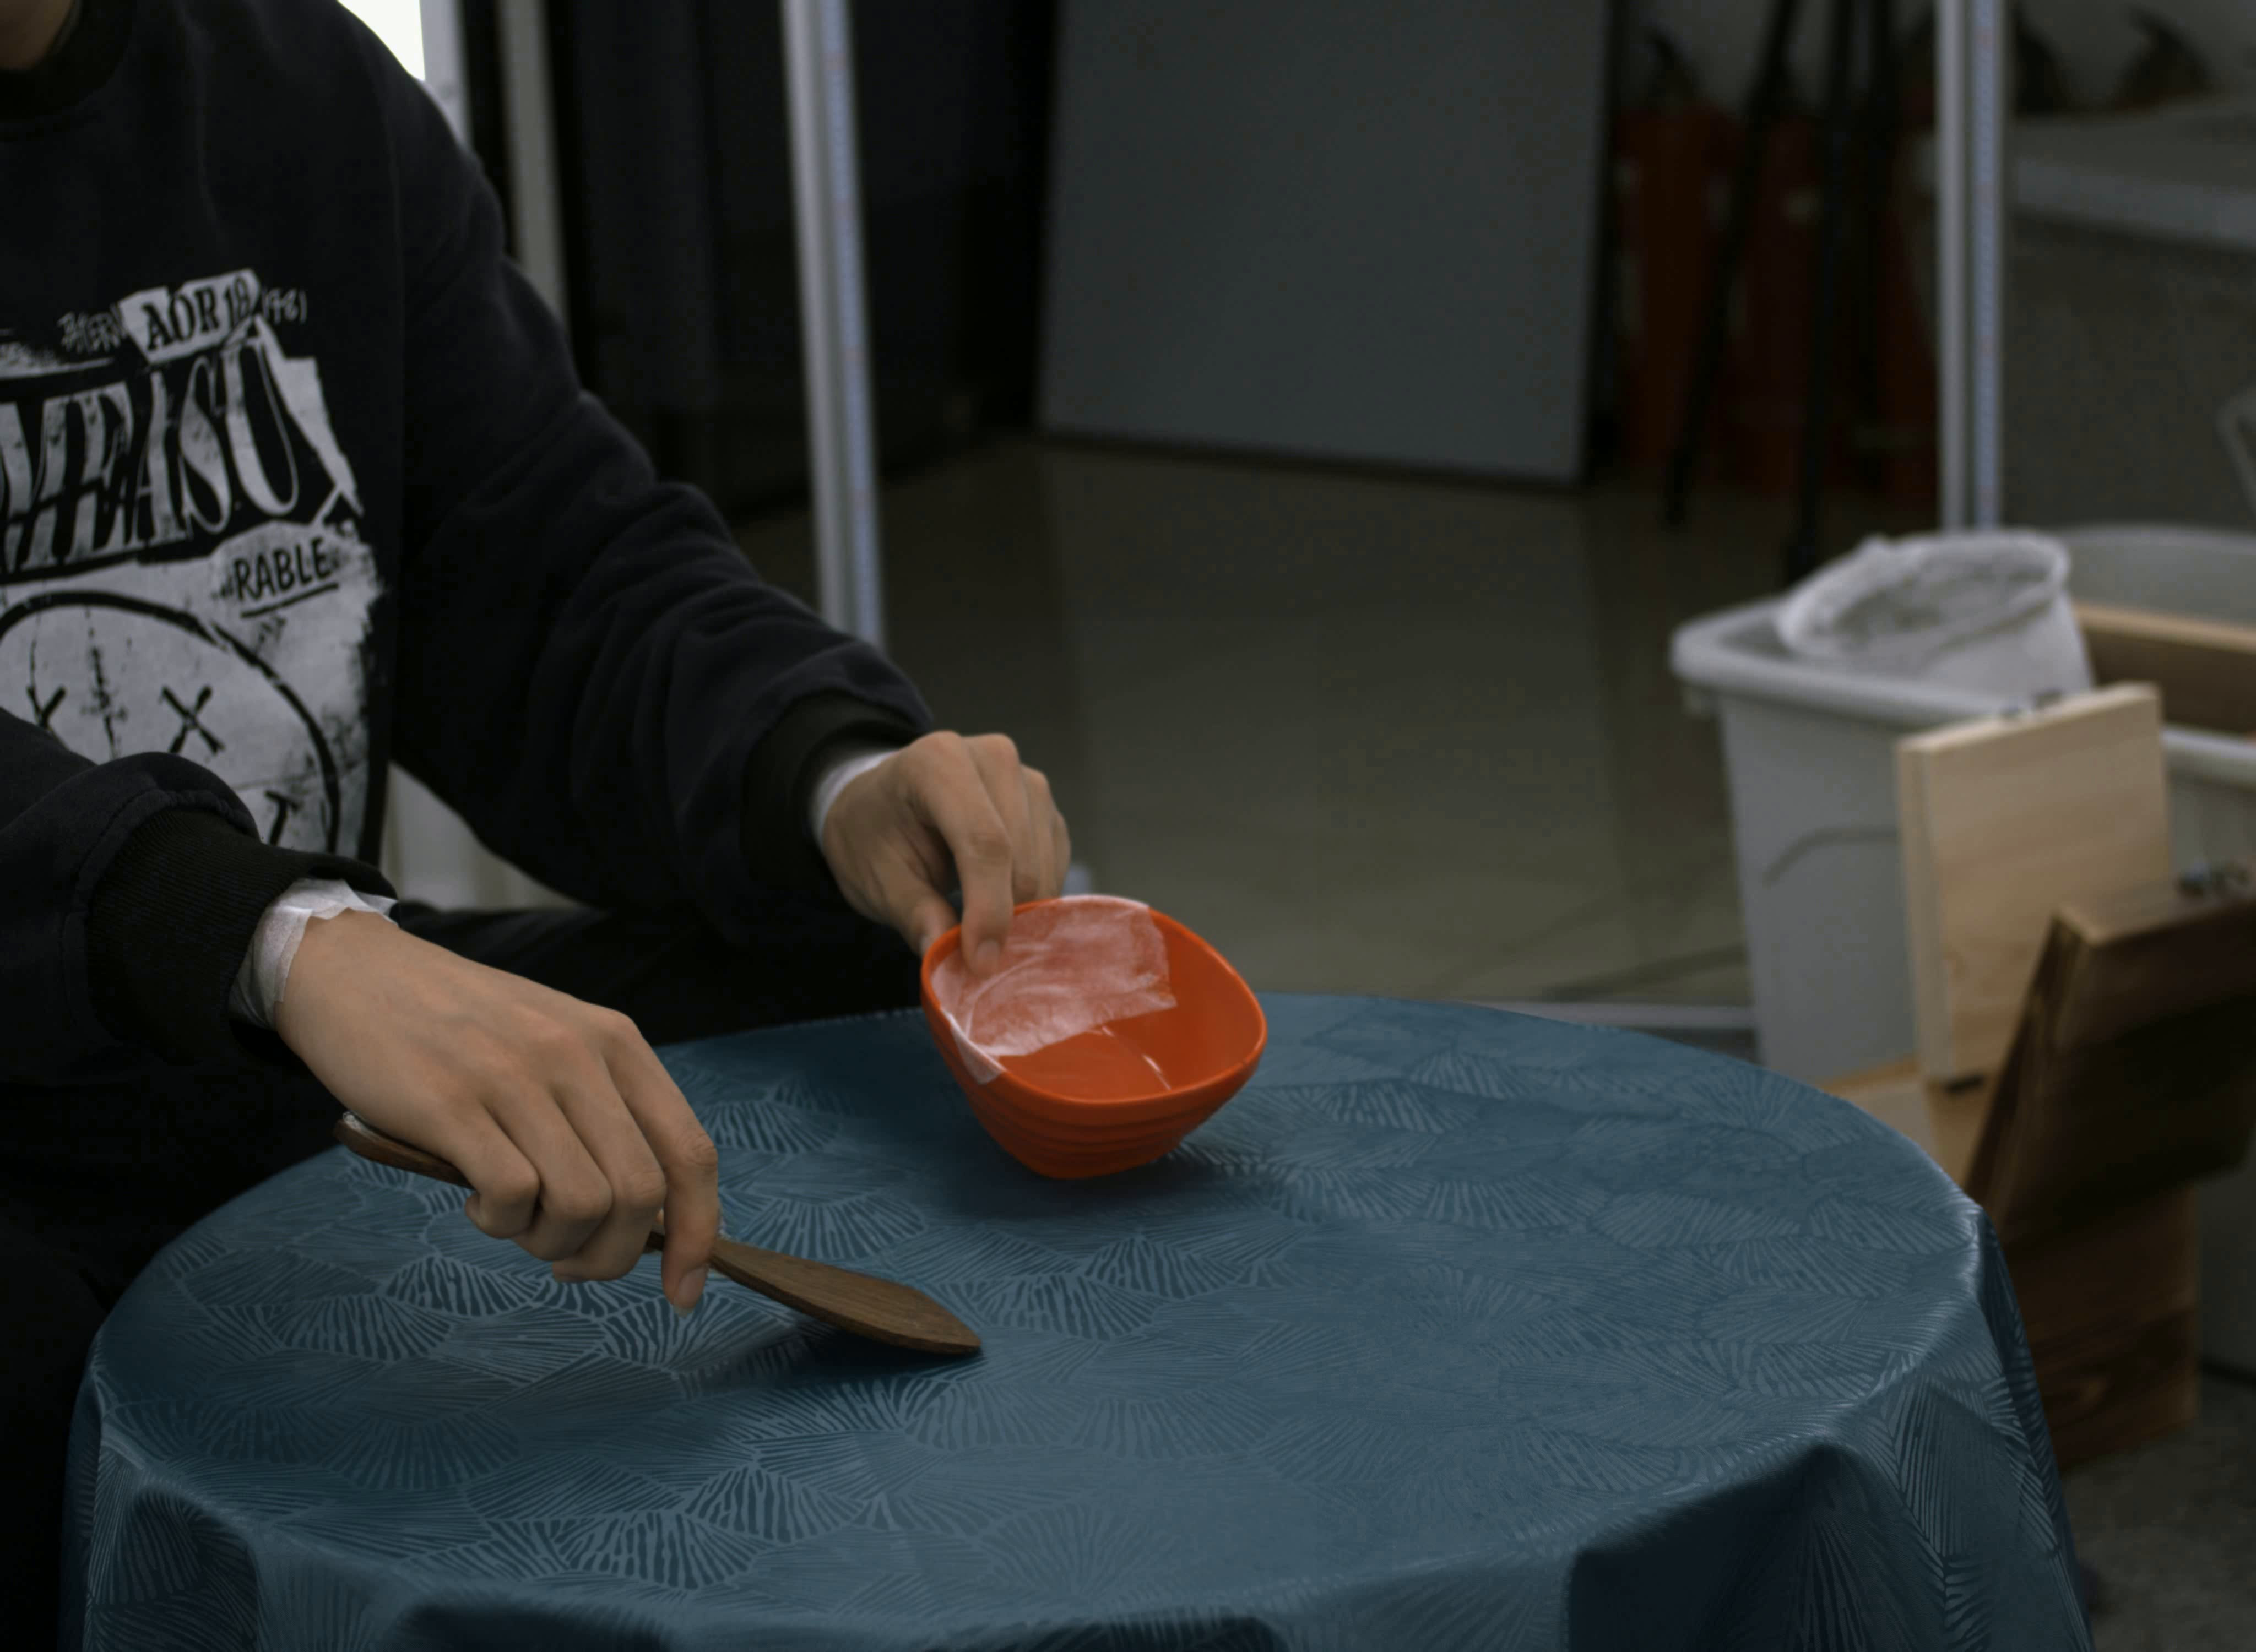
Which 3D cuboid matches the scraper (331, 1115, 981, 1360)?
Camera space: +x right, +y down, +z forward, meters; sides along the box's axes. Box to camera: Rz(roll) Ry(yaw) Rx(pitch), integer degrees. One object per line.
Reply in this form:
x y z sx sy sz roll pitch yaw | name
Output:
-0.141 0.122 1.611 0.207 0.011 0.076 22 4 -26 | scraper

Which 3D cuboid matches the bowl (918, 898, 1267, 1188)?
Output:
-0.015 0.078 1.802 0.117 0.052 0.119 7 34 -5 | bowl
